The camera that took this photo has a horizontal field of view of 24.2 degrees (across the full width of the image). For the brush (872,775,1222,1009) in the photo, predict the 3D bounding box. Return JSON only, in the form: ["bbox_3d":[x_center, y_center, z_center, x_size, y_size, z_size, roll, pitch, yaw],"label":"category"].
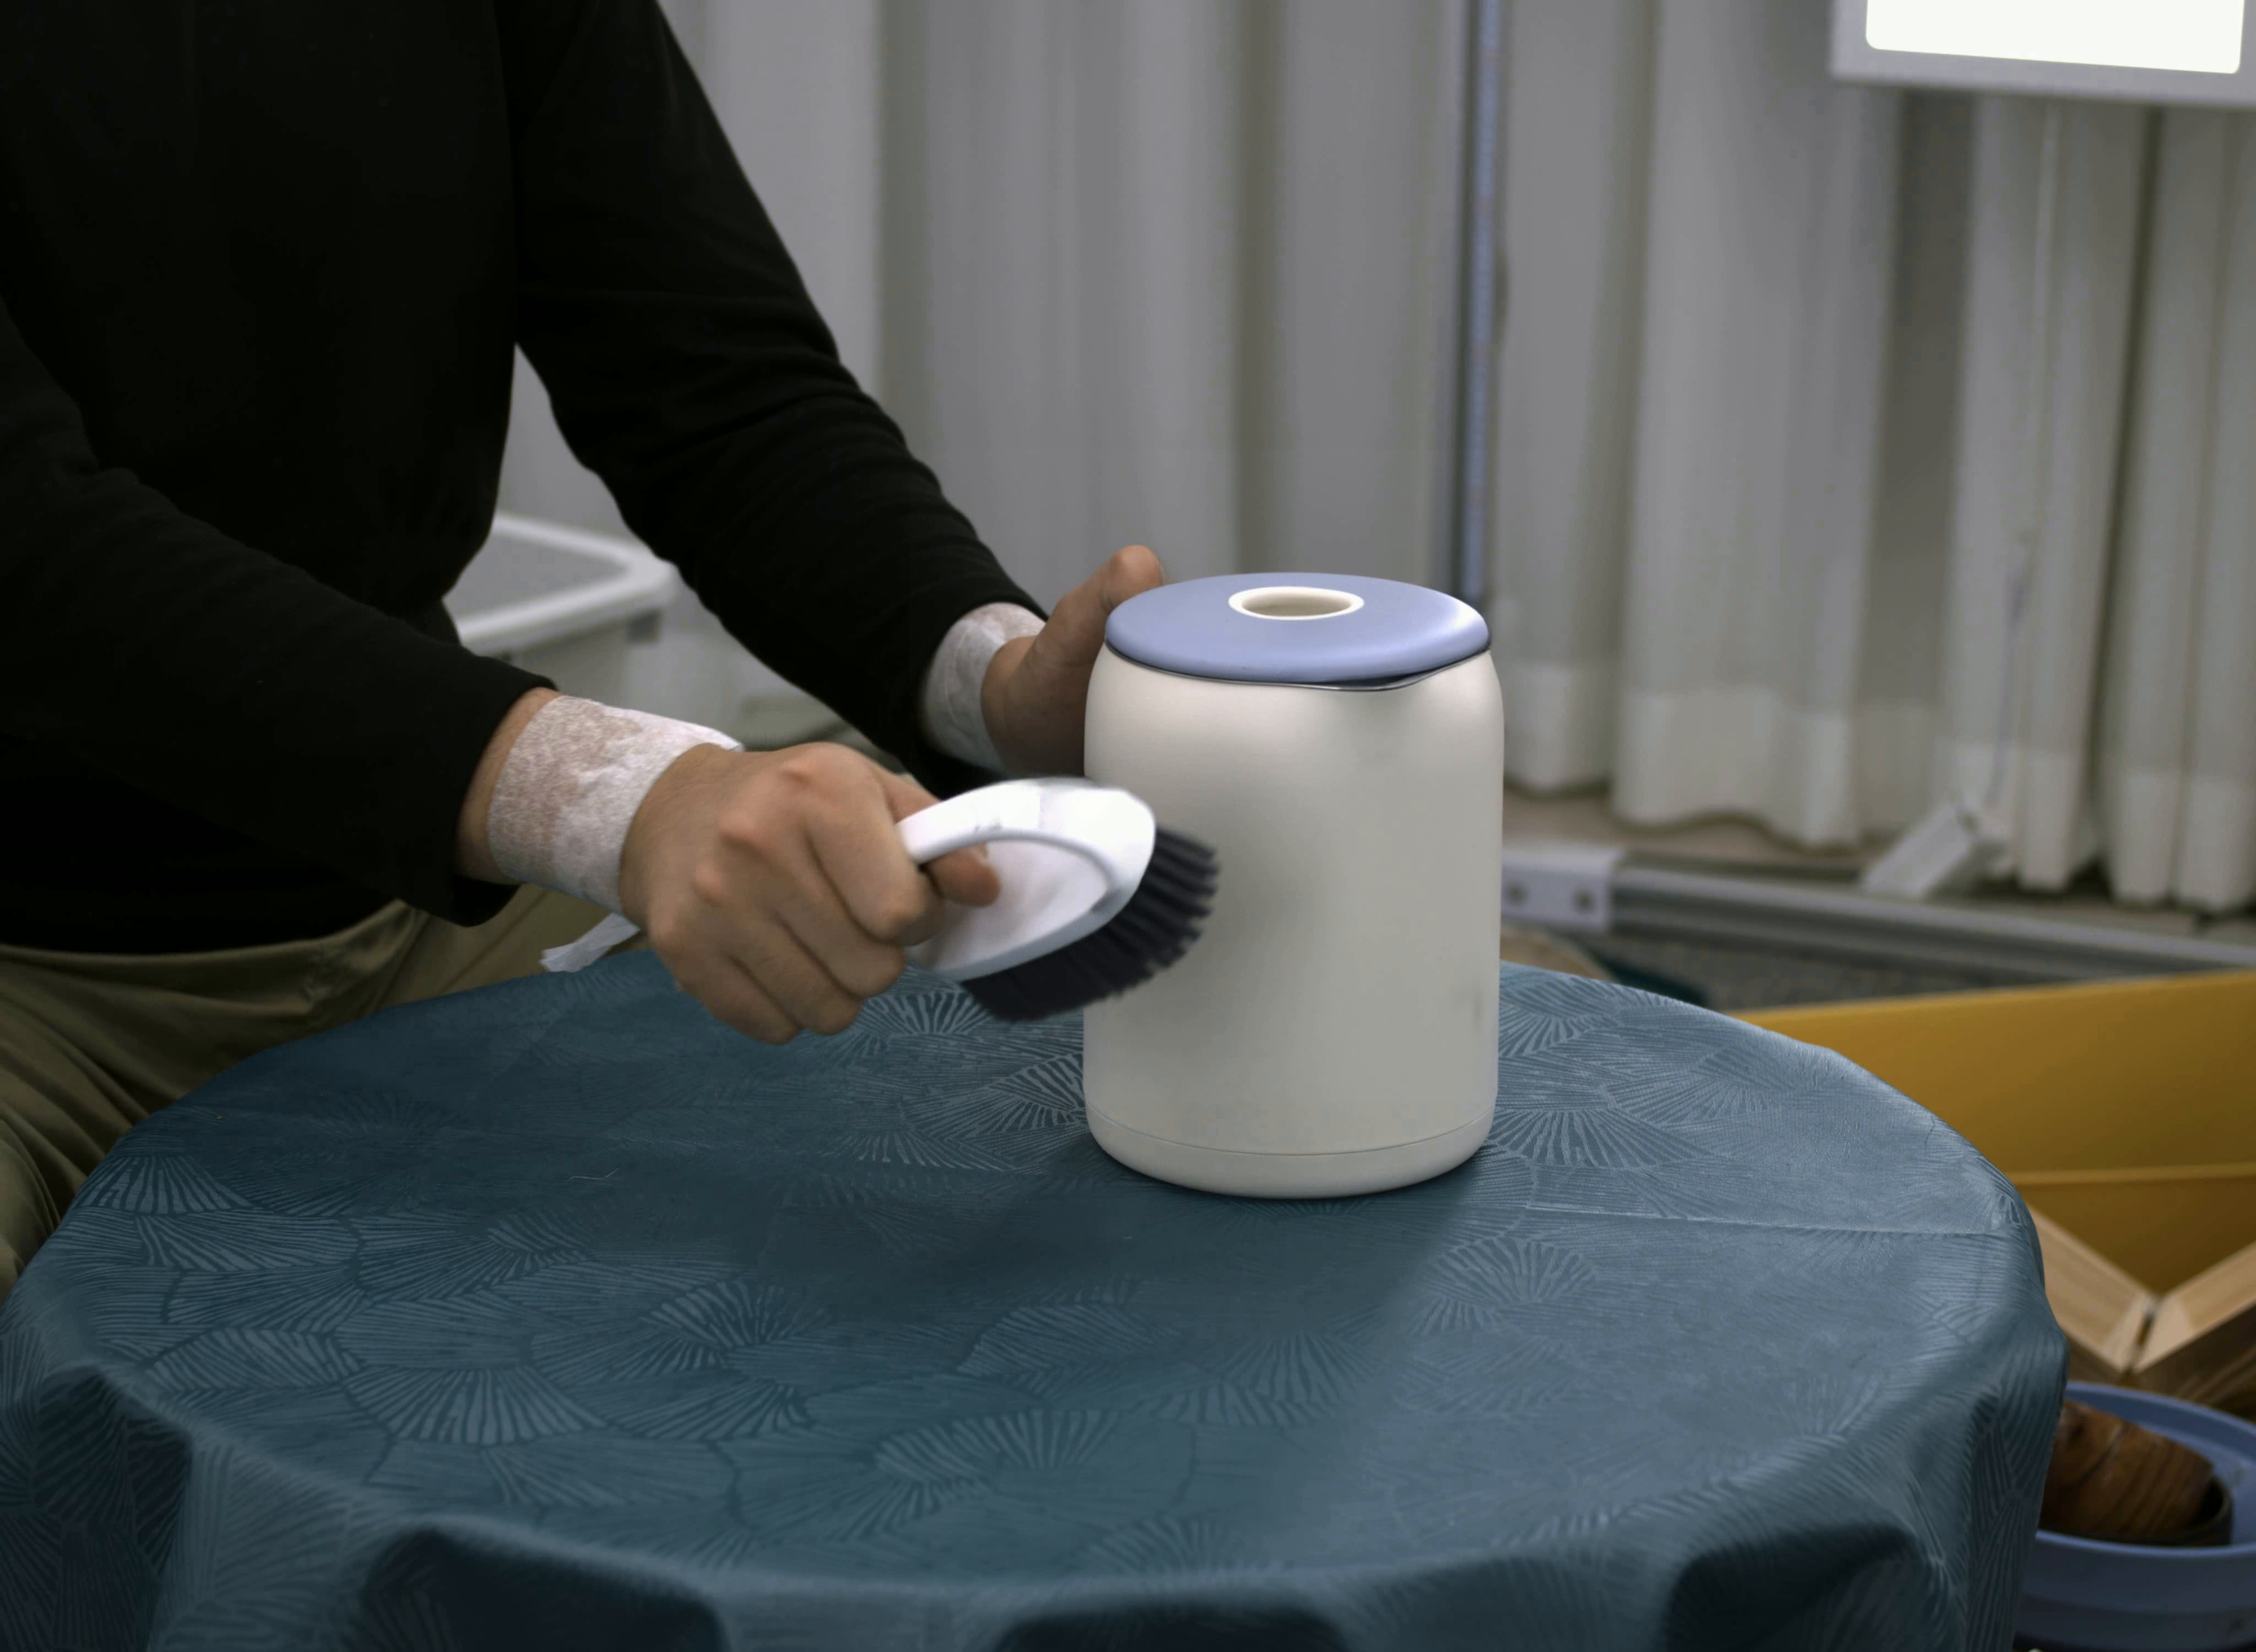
[{"bbox_3d":[-0.031,0.012,1.523,0.073,0.050,0.098,28,-33,-34],"label":"brush"}]

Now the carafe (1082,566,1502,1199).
[{"bbox_3d":[0.041,0.011,1.667,0.132,0.184,0.189,-6,16,-23],"label":"carafe"}]
